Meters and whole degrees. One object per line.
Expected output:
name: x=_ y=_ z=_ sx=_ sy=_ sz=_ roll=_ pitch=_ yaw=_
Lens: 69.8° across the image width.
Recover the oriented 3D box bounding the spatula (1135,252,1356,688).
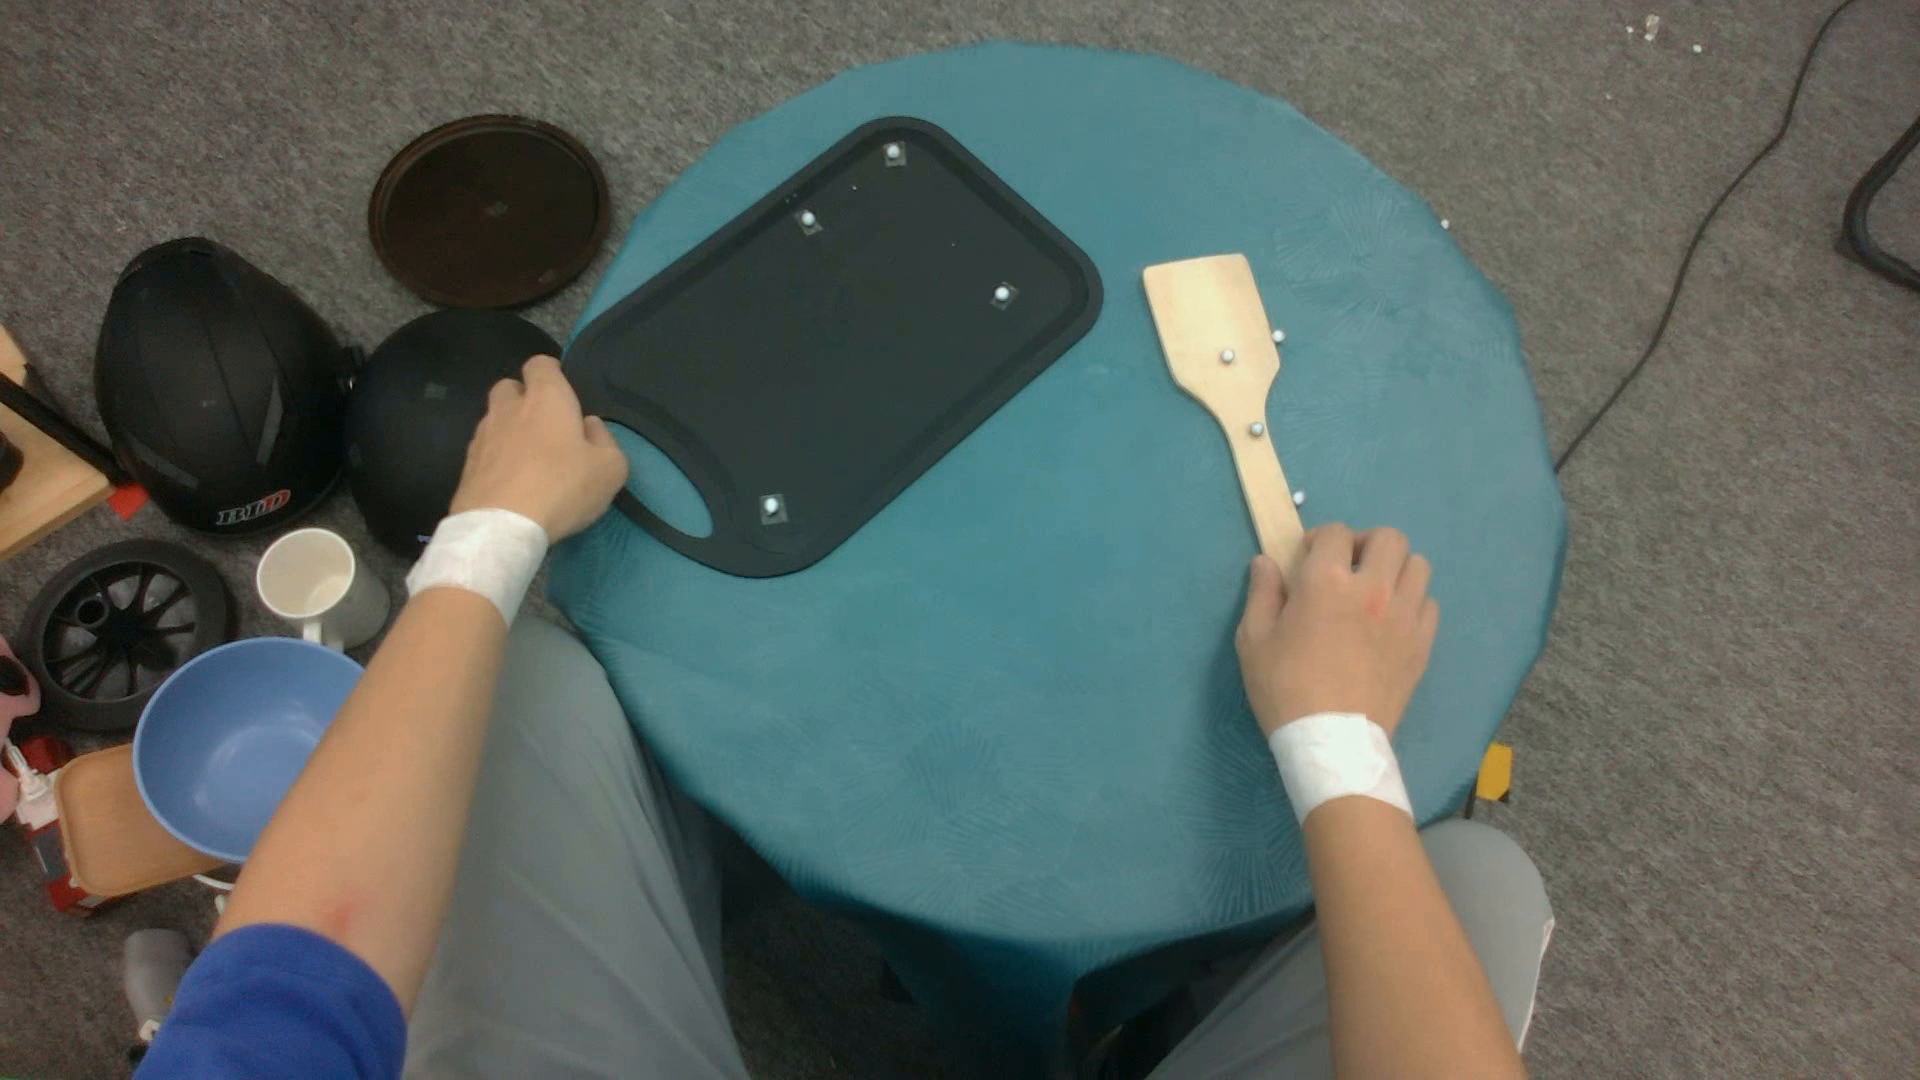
spatula: x=0.179 y=-0.049 z=0.830 sx=0.072 sy=0.010 sz=0.294 roll=-11 pitch=68 yaw=-9

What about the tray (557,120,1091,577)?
tray: x=-0.085 y=-0.124 z=0.848 sx=0.326 sy=0.010 sz=0.211 roll=-42 pitch=75 yaw=-18
